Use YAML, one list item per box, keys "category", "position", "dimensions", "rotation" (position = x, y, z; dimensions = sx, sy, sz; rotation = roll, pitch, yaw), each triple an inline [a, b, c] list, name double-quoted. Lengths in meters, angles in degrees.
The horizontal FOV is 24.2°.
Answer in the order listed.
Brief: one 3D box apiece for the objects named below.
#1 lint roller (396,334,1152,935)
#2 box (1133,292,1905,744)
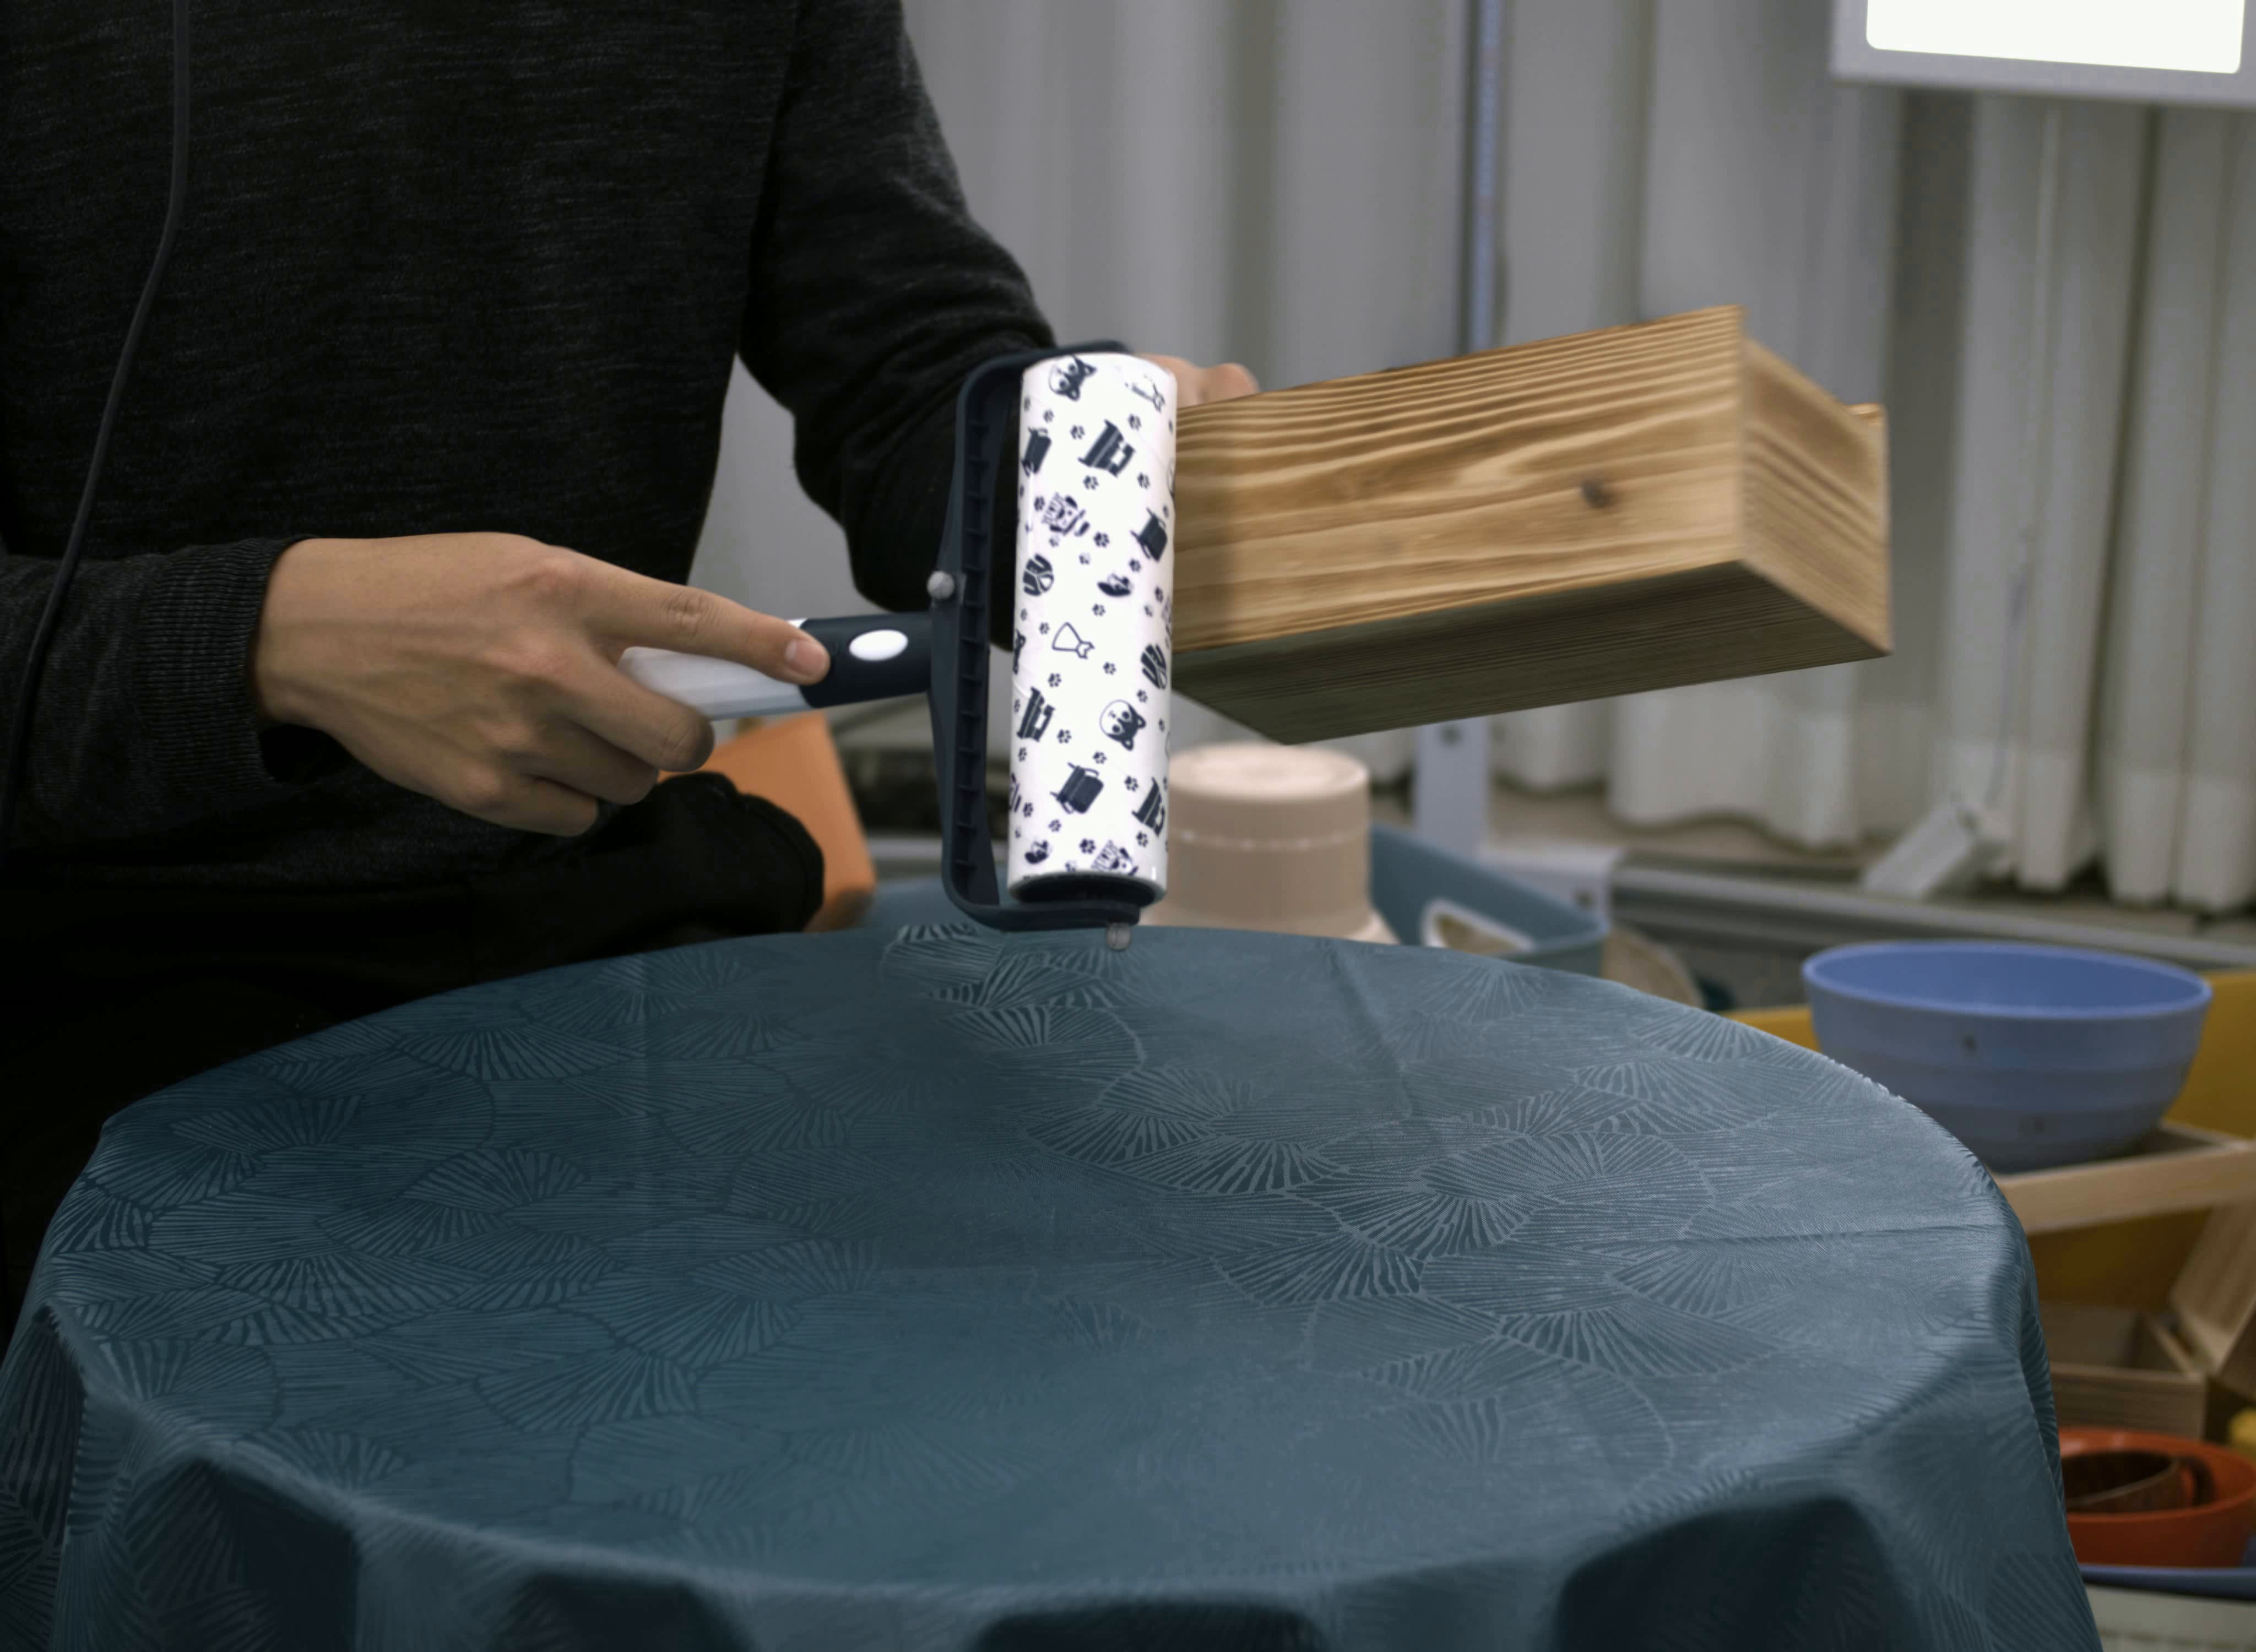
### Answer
- category: "lint roller"
  position: [-0.110, -0.047, 1.576]
  dimensions: [0.245, 0.176, 0.051]
  rotation: [-6, -13, 17]
- category: "box"
  position: [0.117, -0.090, 1.595]
  dimensions: [0.209, 0.080, 0.109]
  rotation: [-8, -18, 28]
